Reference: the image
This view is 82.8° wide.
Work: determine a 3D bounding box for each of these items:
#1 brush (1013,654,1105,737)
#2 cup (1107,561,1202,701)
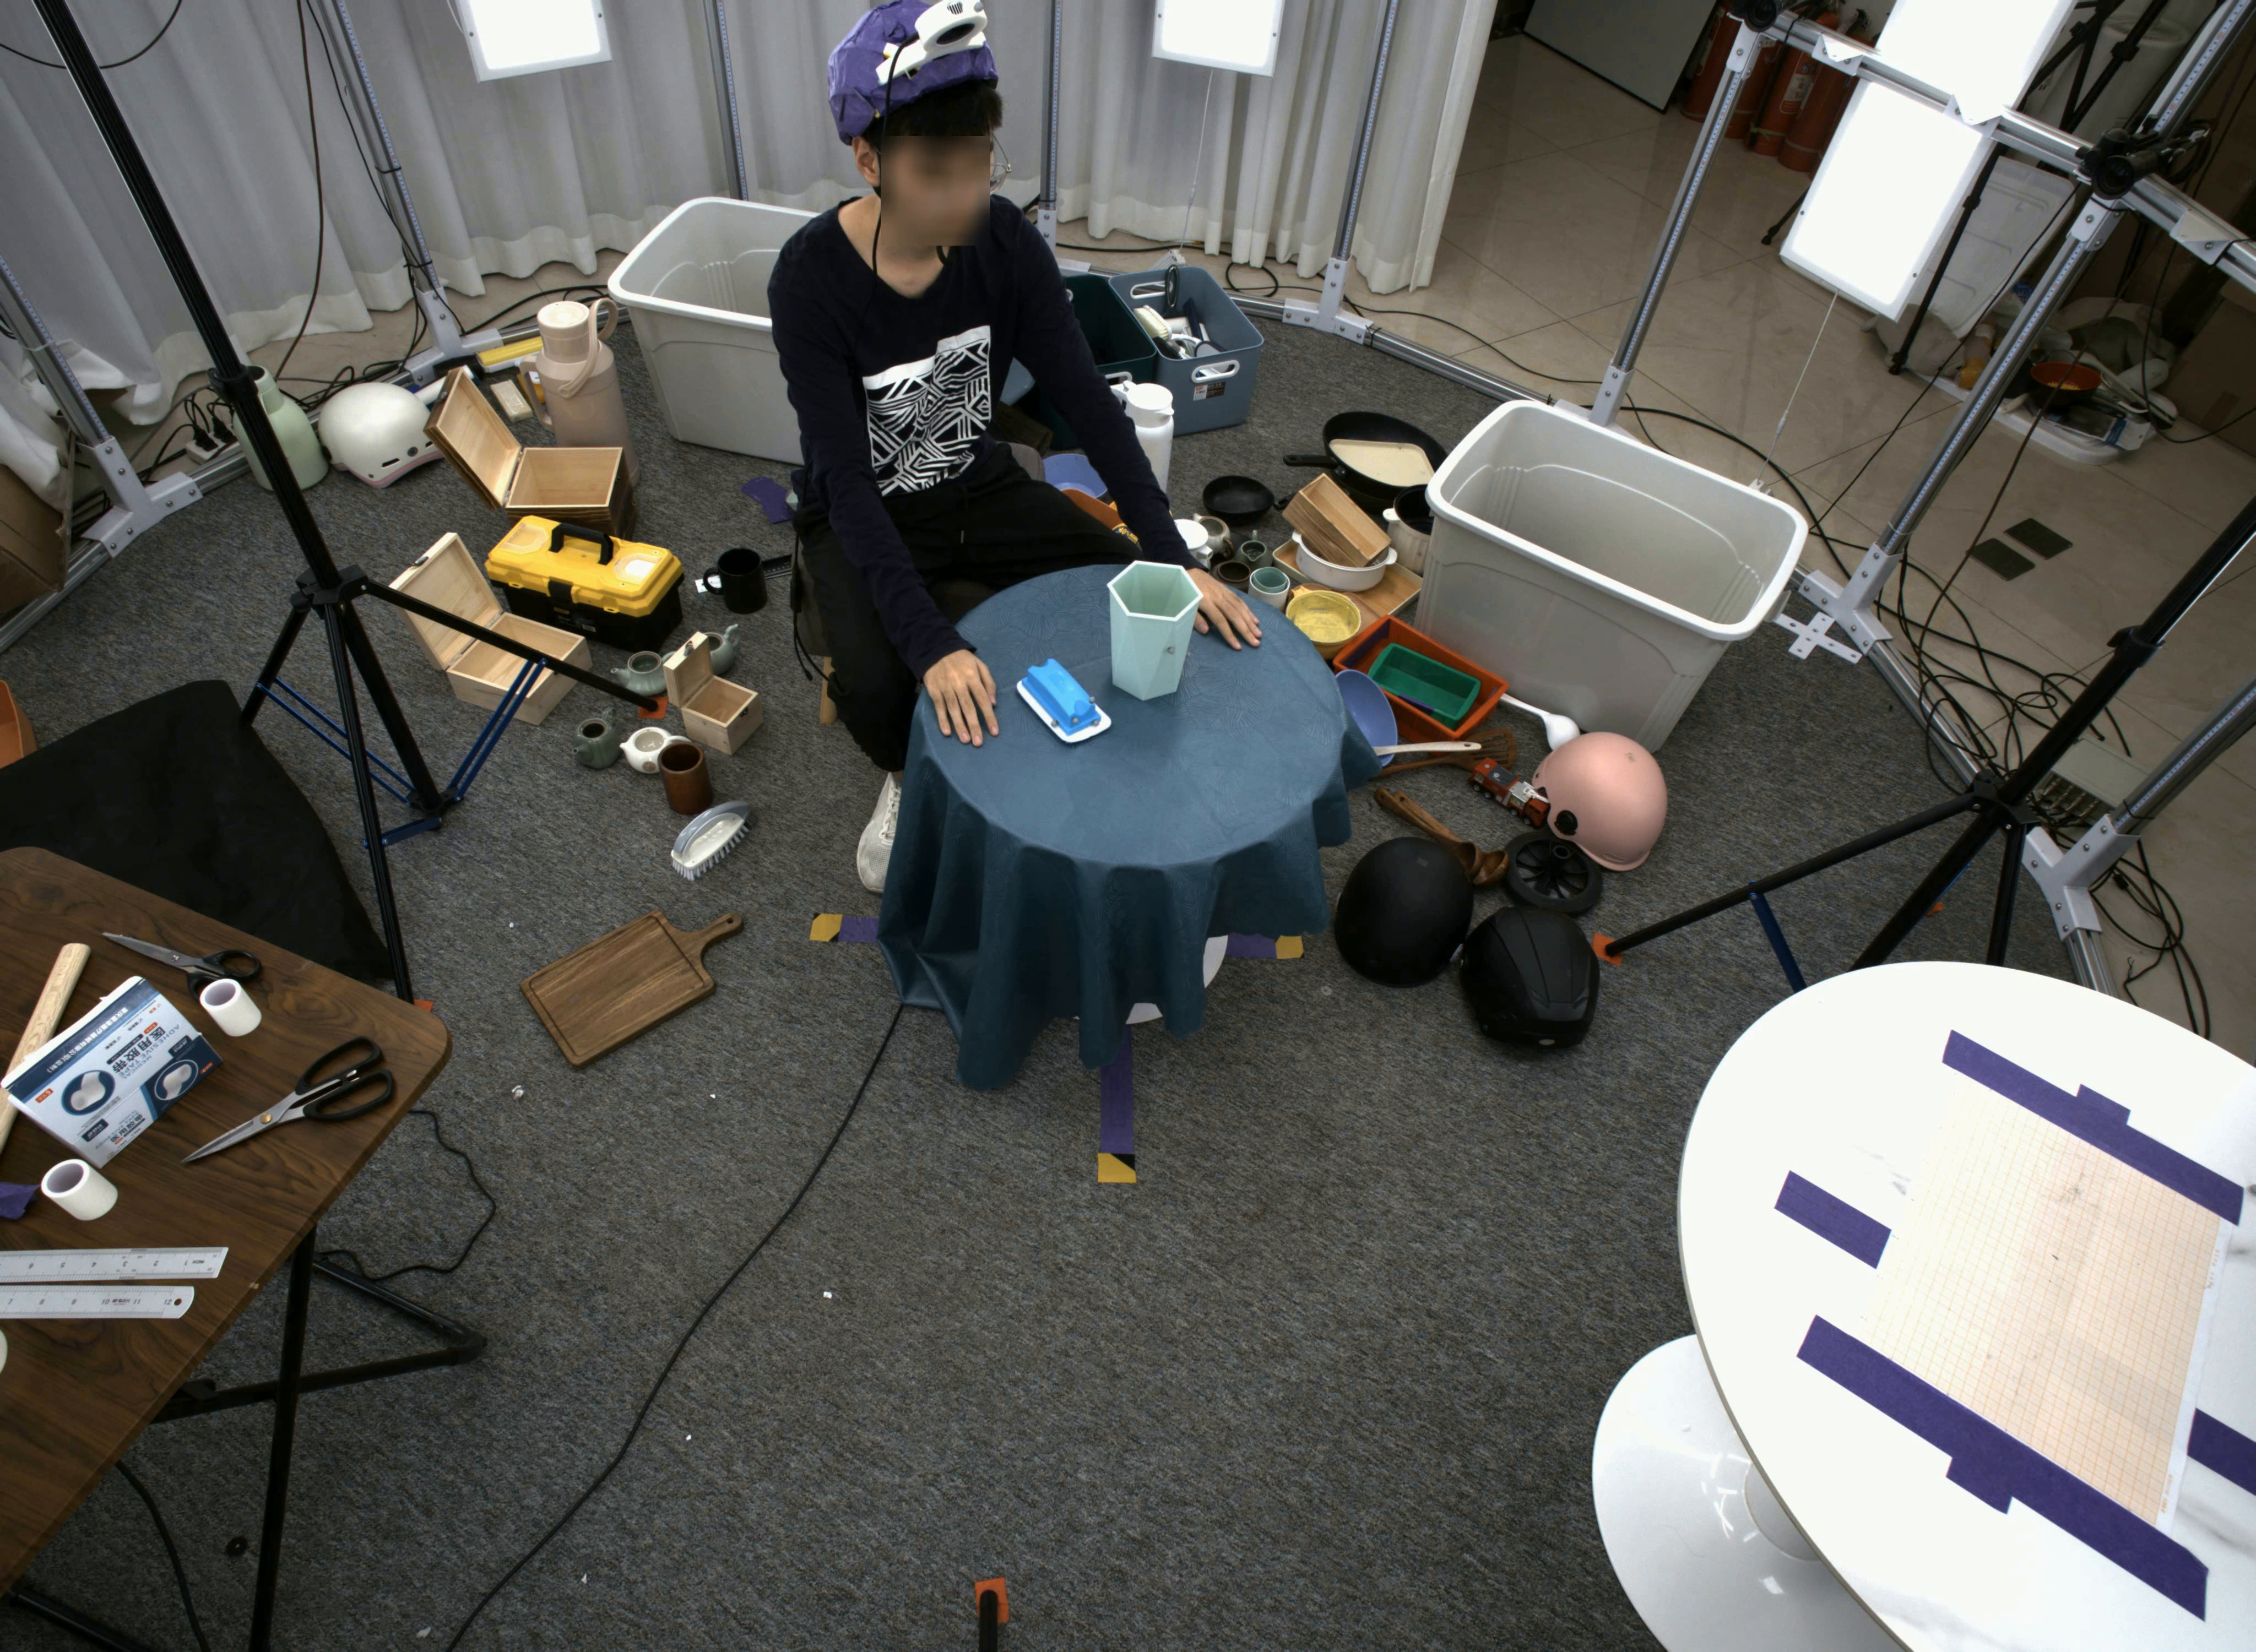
[{"bbox_3d":[-0.095,-0.189,1.786,0.084,0.054,0.147,-22,56,-25],"label":"brush"},{"bbox_3d":[0.033,-0.269,1.799,0.116,0.159,0.133,29,52,21],"label":"cup"}]
